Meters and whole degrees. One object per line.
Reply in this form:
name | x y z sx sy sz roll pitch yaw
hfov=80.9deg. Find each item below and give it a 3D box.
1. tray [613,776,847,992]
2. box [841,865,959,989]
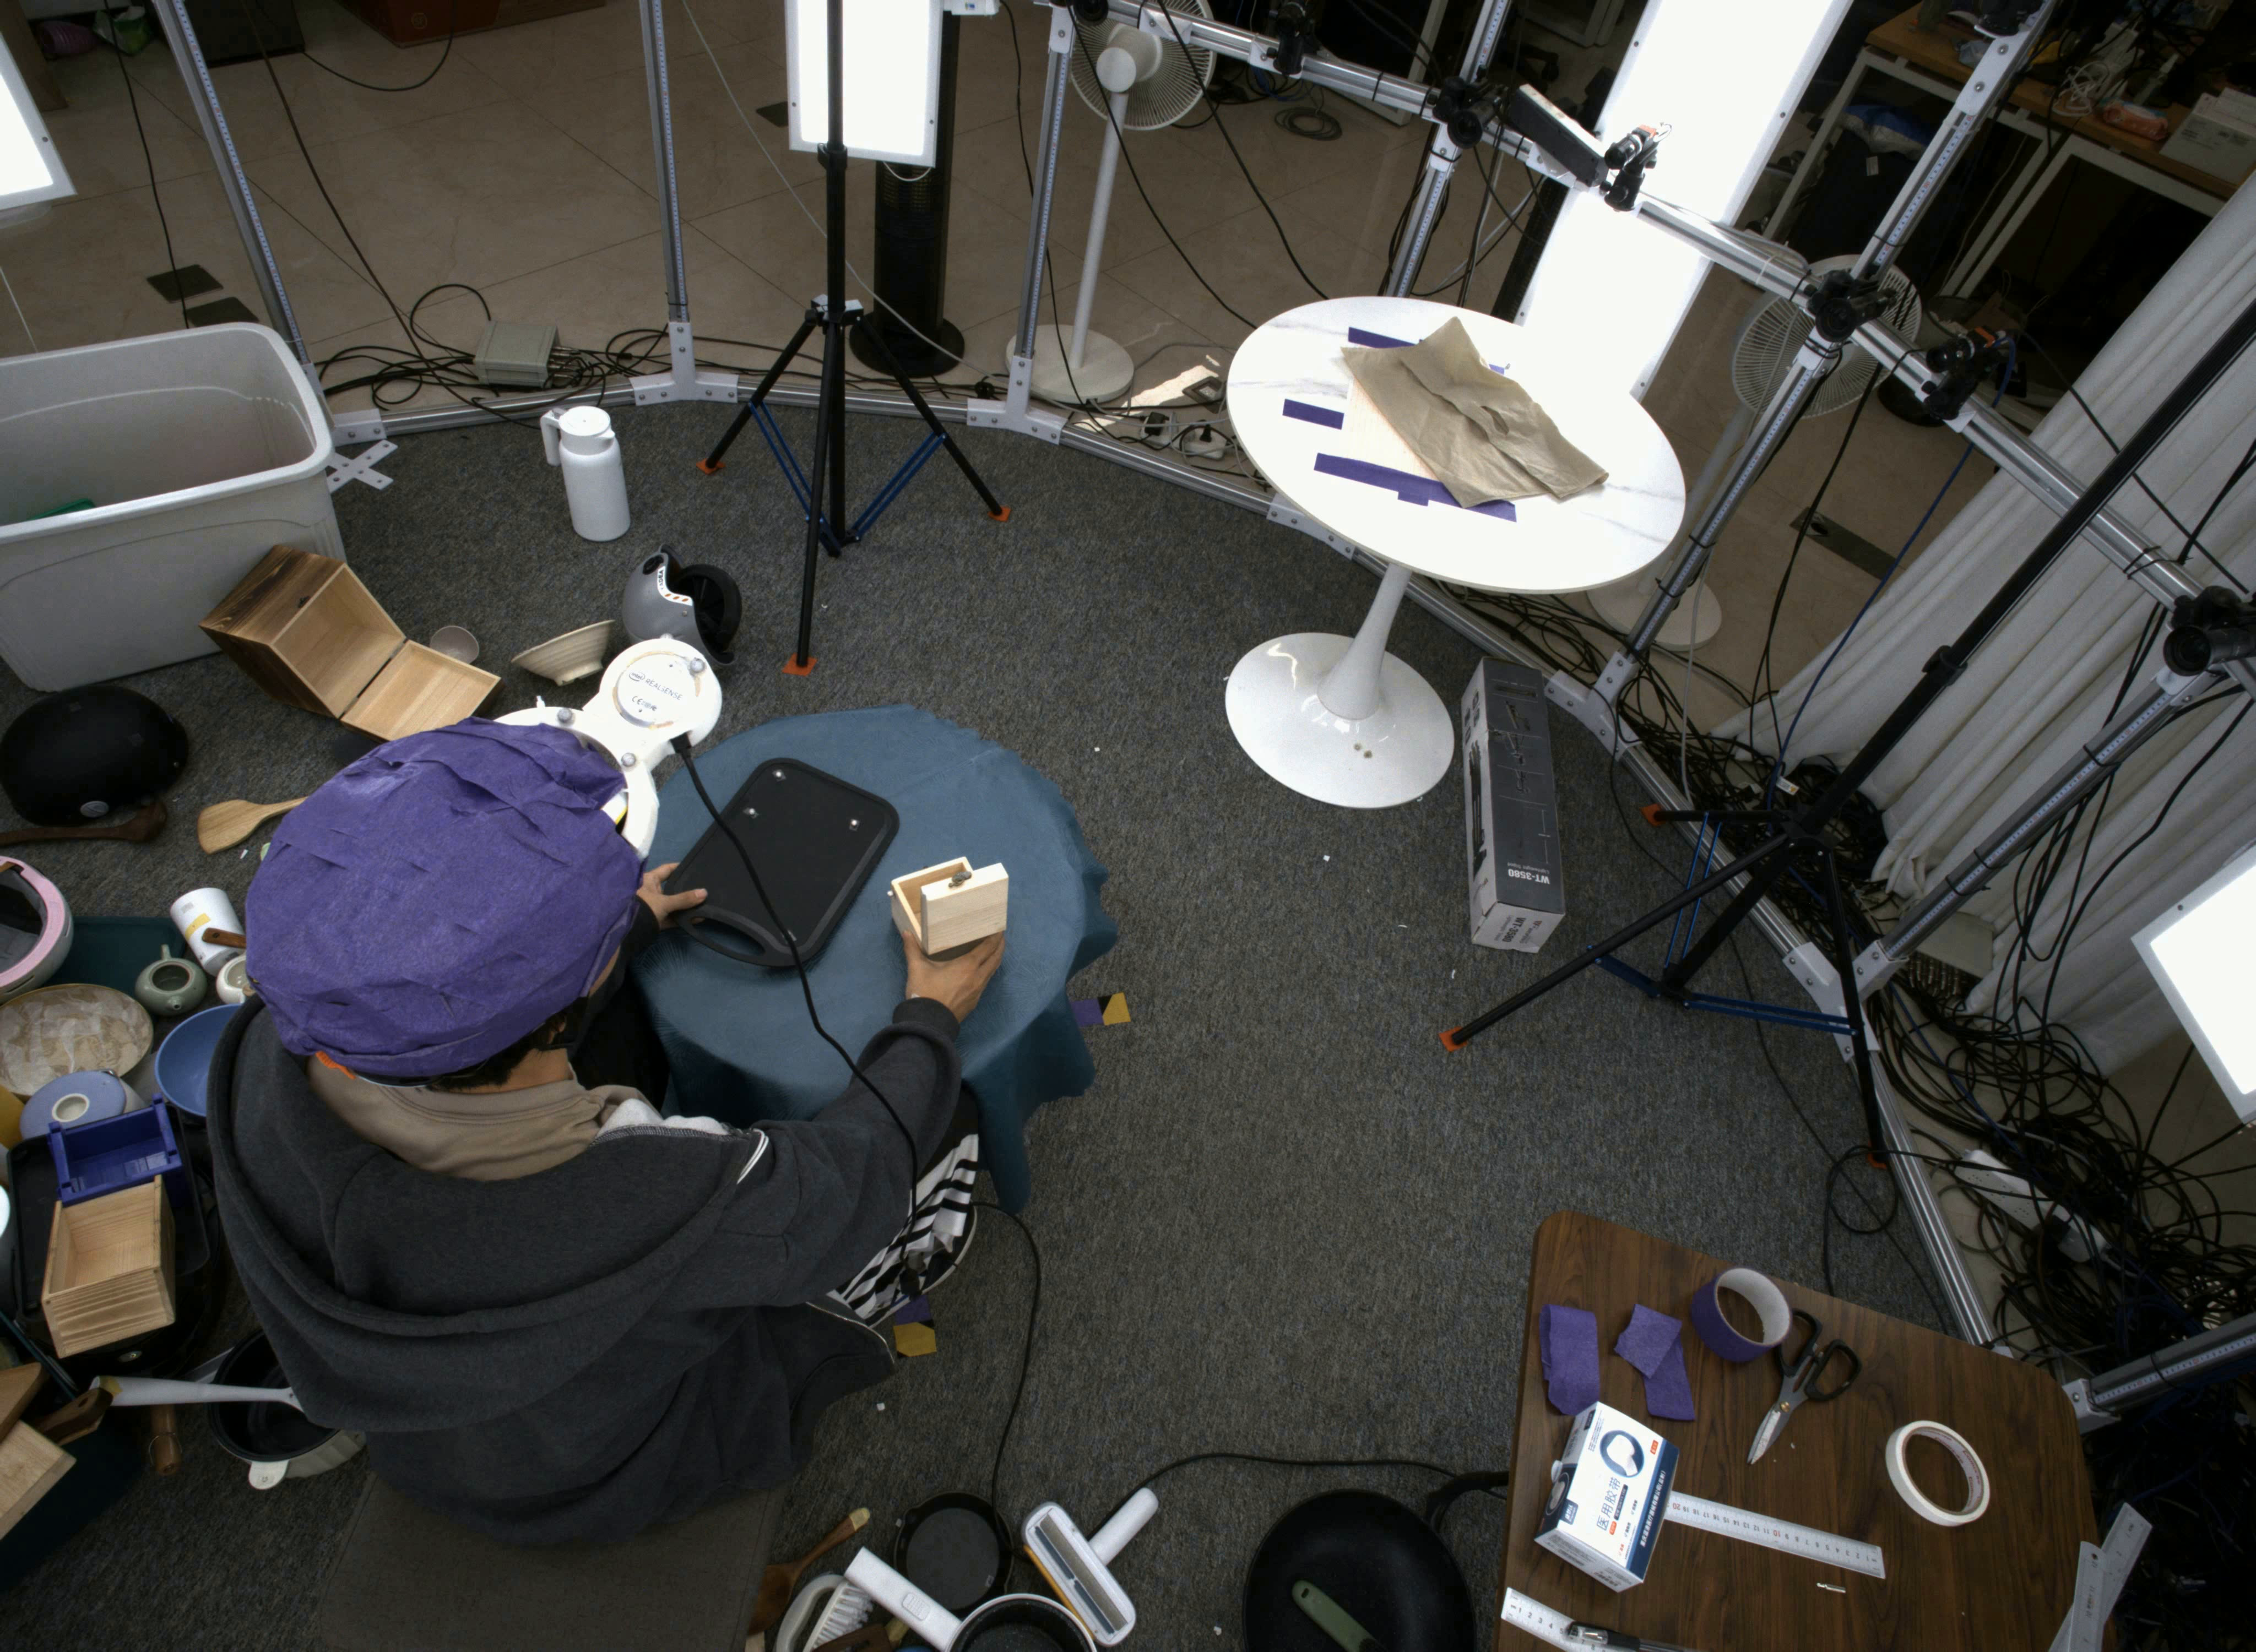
tray | -0.502 0.067 1.632 0.210 0.010 0.322 23 47 -2
box | -0.277 0.096 1.568 0.103 0.189 0.130 -23 59 -25
